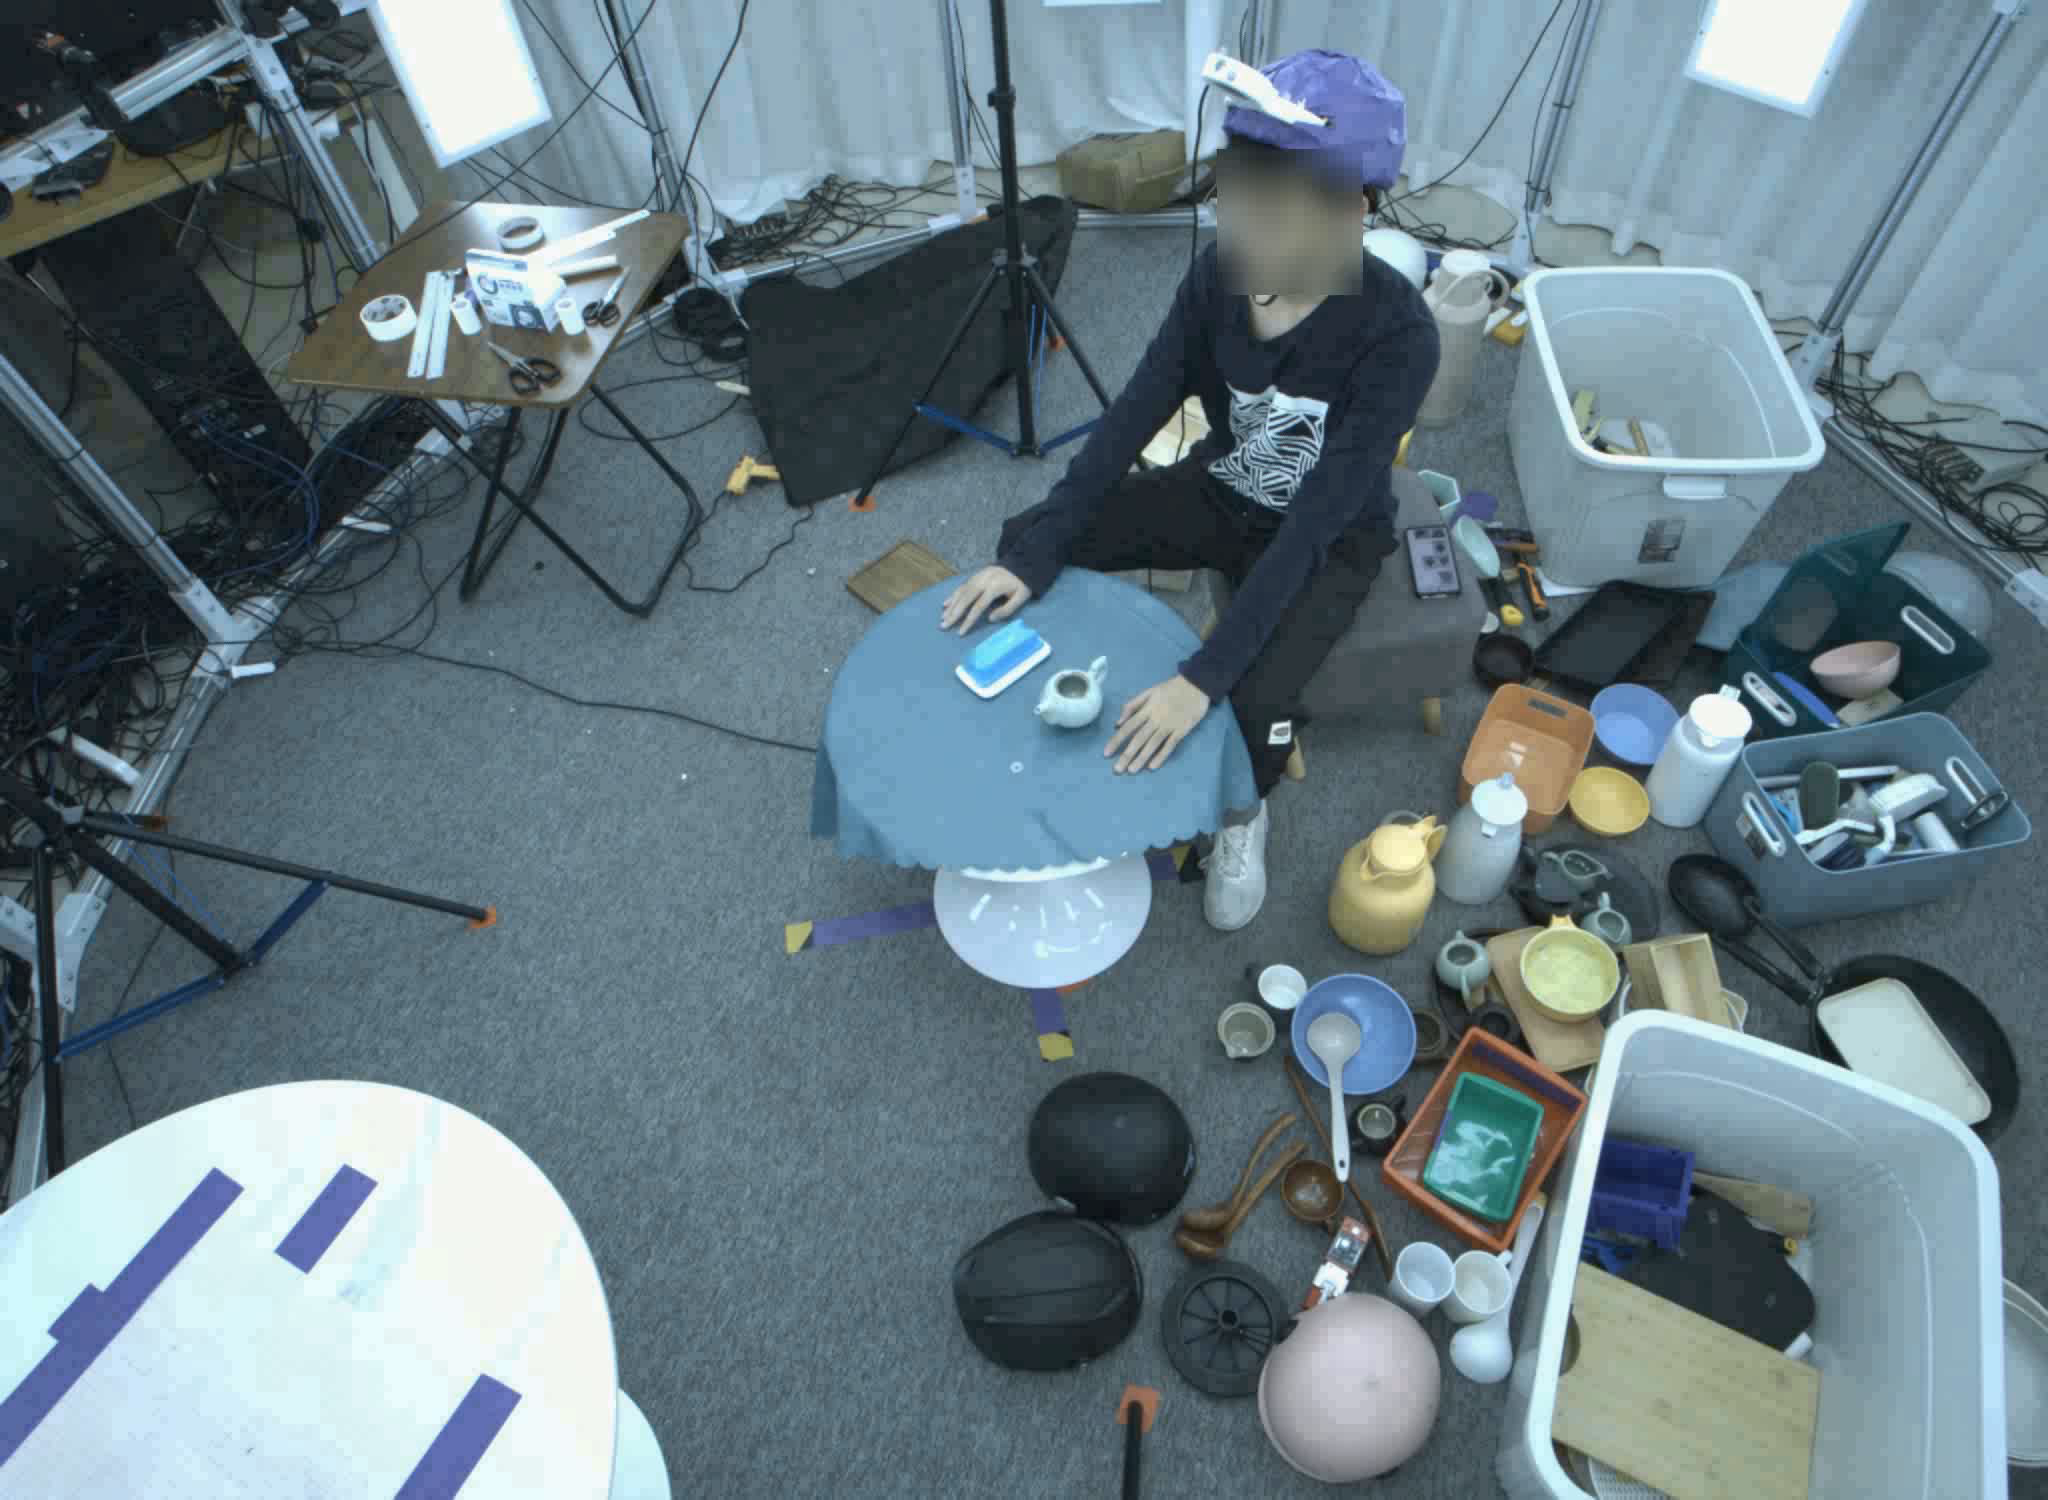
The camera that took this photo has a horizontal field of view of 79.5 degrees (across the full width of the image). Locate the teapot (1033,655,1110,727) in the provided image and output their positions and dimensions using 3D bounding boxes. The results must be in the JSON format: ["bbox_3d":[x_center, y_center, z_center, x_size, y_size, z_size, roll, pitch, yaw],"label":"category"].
[{"bbox_3d":[0.071,-0.077,1.787,0.145,0.075,0.086,-37,61,-18],"label":"teapot"}]

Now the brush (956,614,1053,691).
[{"bbox_3d":[-0.030,-0.156,1.854,0.145,0.056,0.082,-37,64,-19],"label":"brush"}]
